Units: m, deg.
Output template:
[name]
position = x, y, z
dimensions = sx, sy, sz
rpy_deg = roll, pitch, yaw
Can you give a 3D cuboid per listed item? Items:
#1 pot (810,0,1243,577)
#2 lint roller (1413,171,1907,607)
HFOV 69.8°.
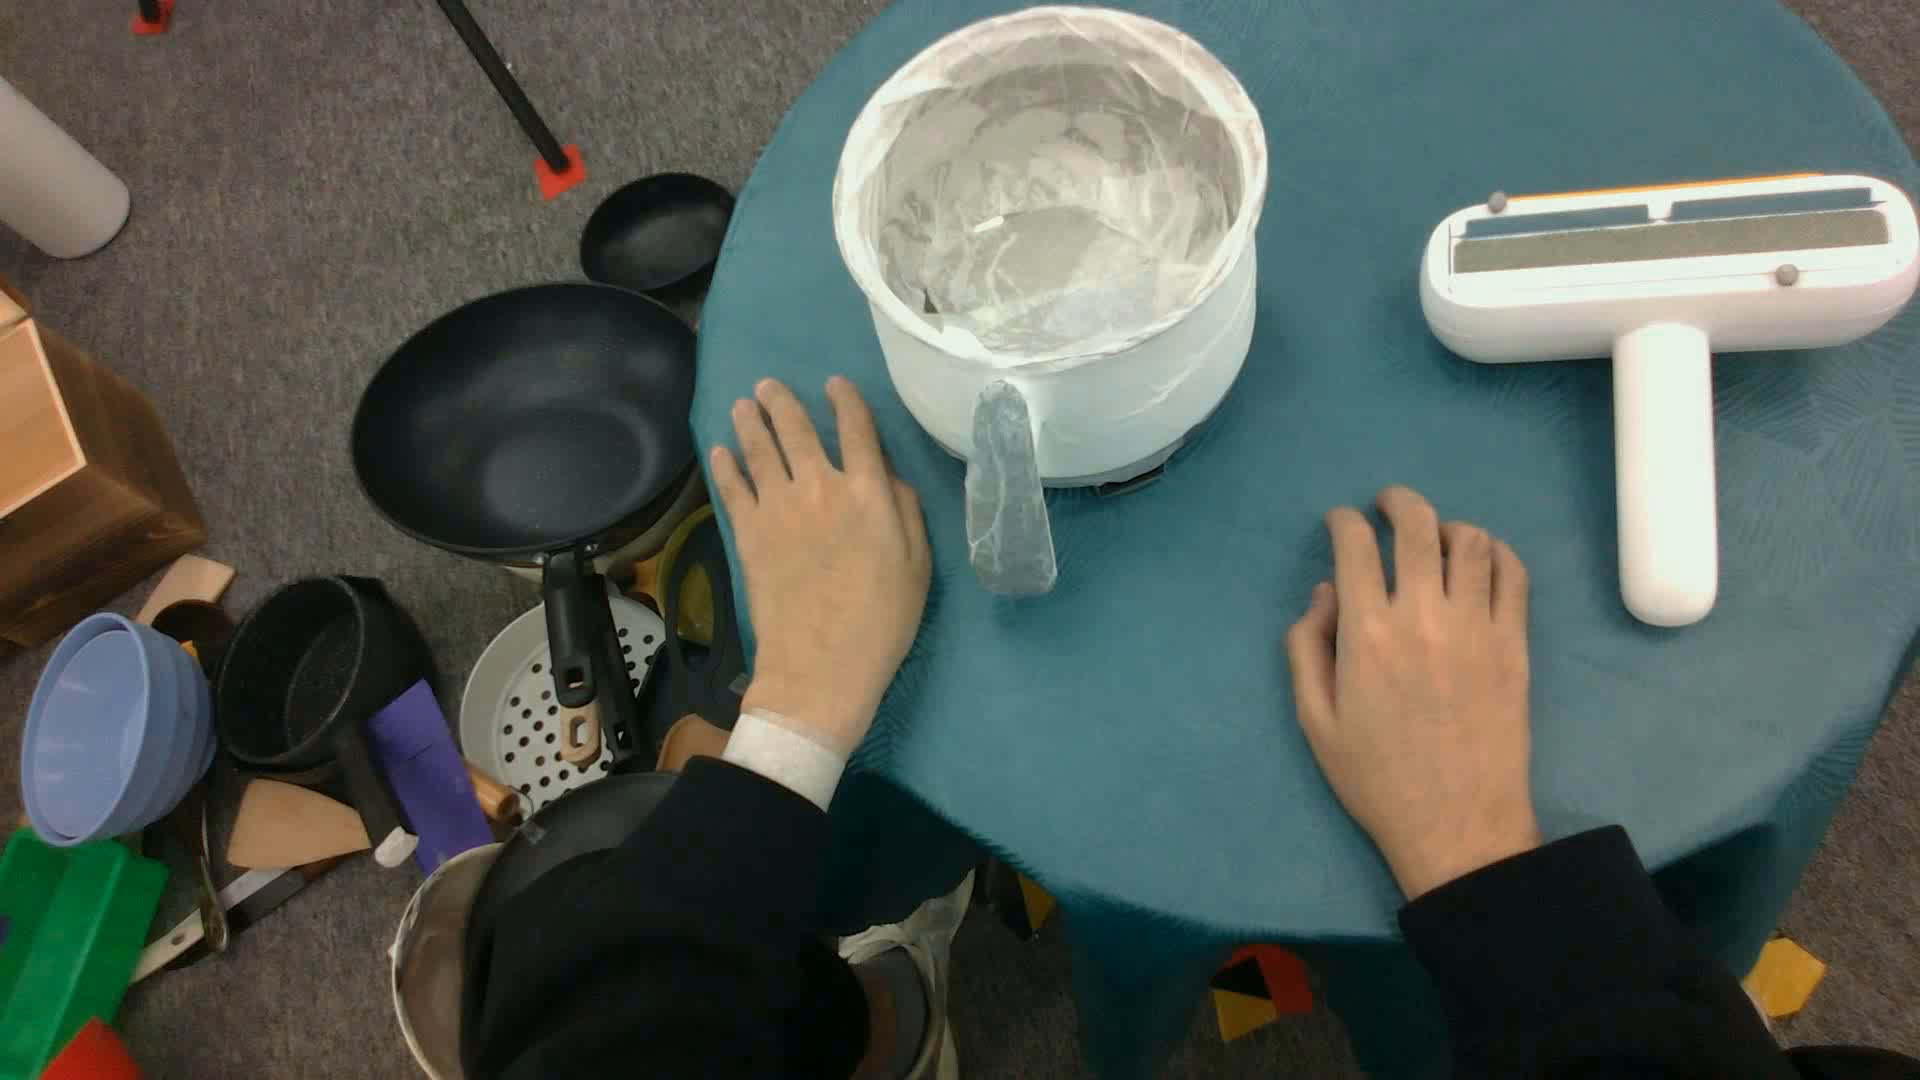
[pot]
position = 0.031, -0.107, 0.608
dimensions = 0.178, 0.136, 0.234
rpy_deg = 5, 68, 12
[lint roller]
position = 0.292, -0.069, 0.592
dimensions = 0.192, 0.074, 0.193
rpy_deg = 5, 70, 16
